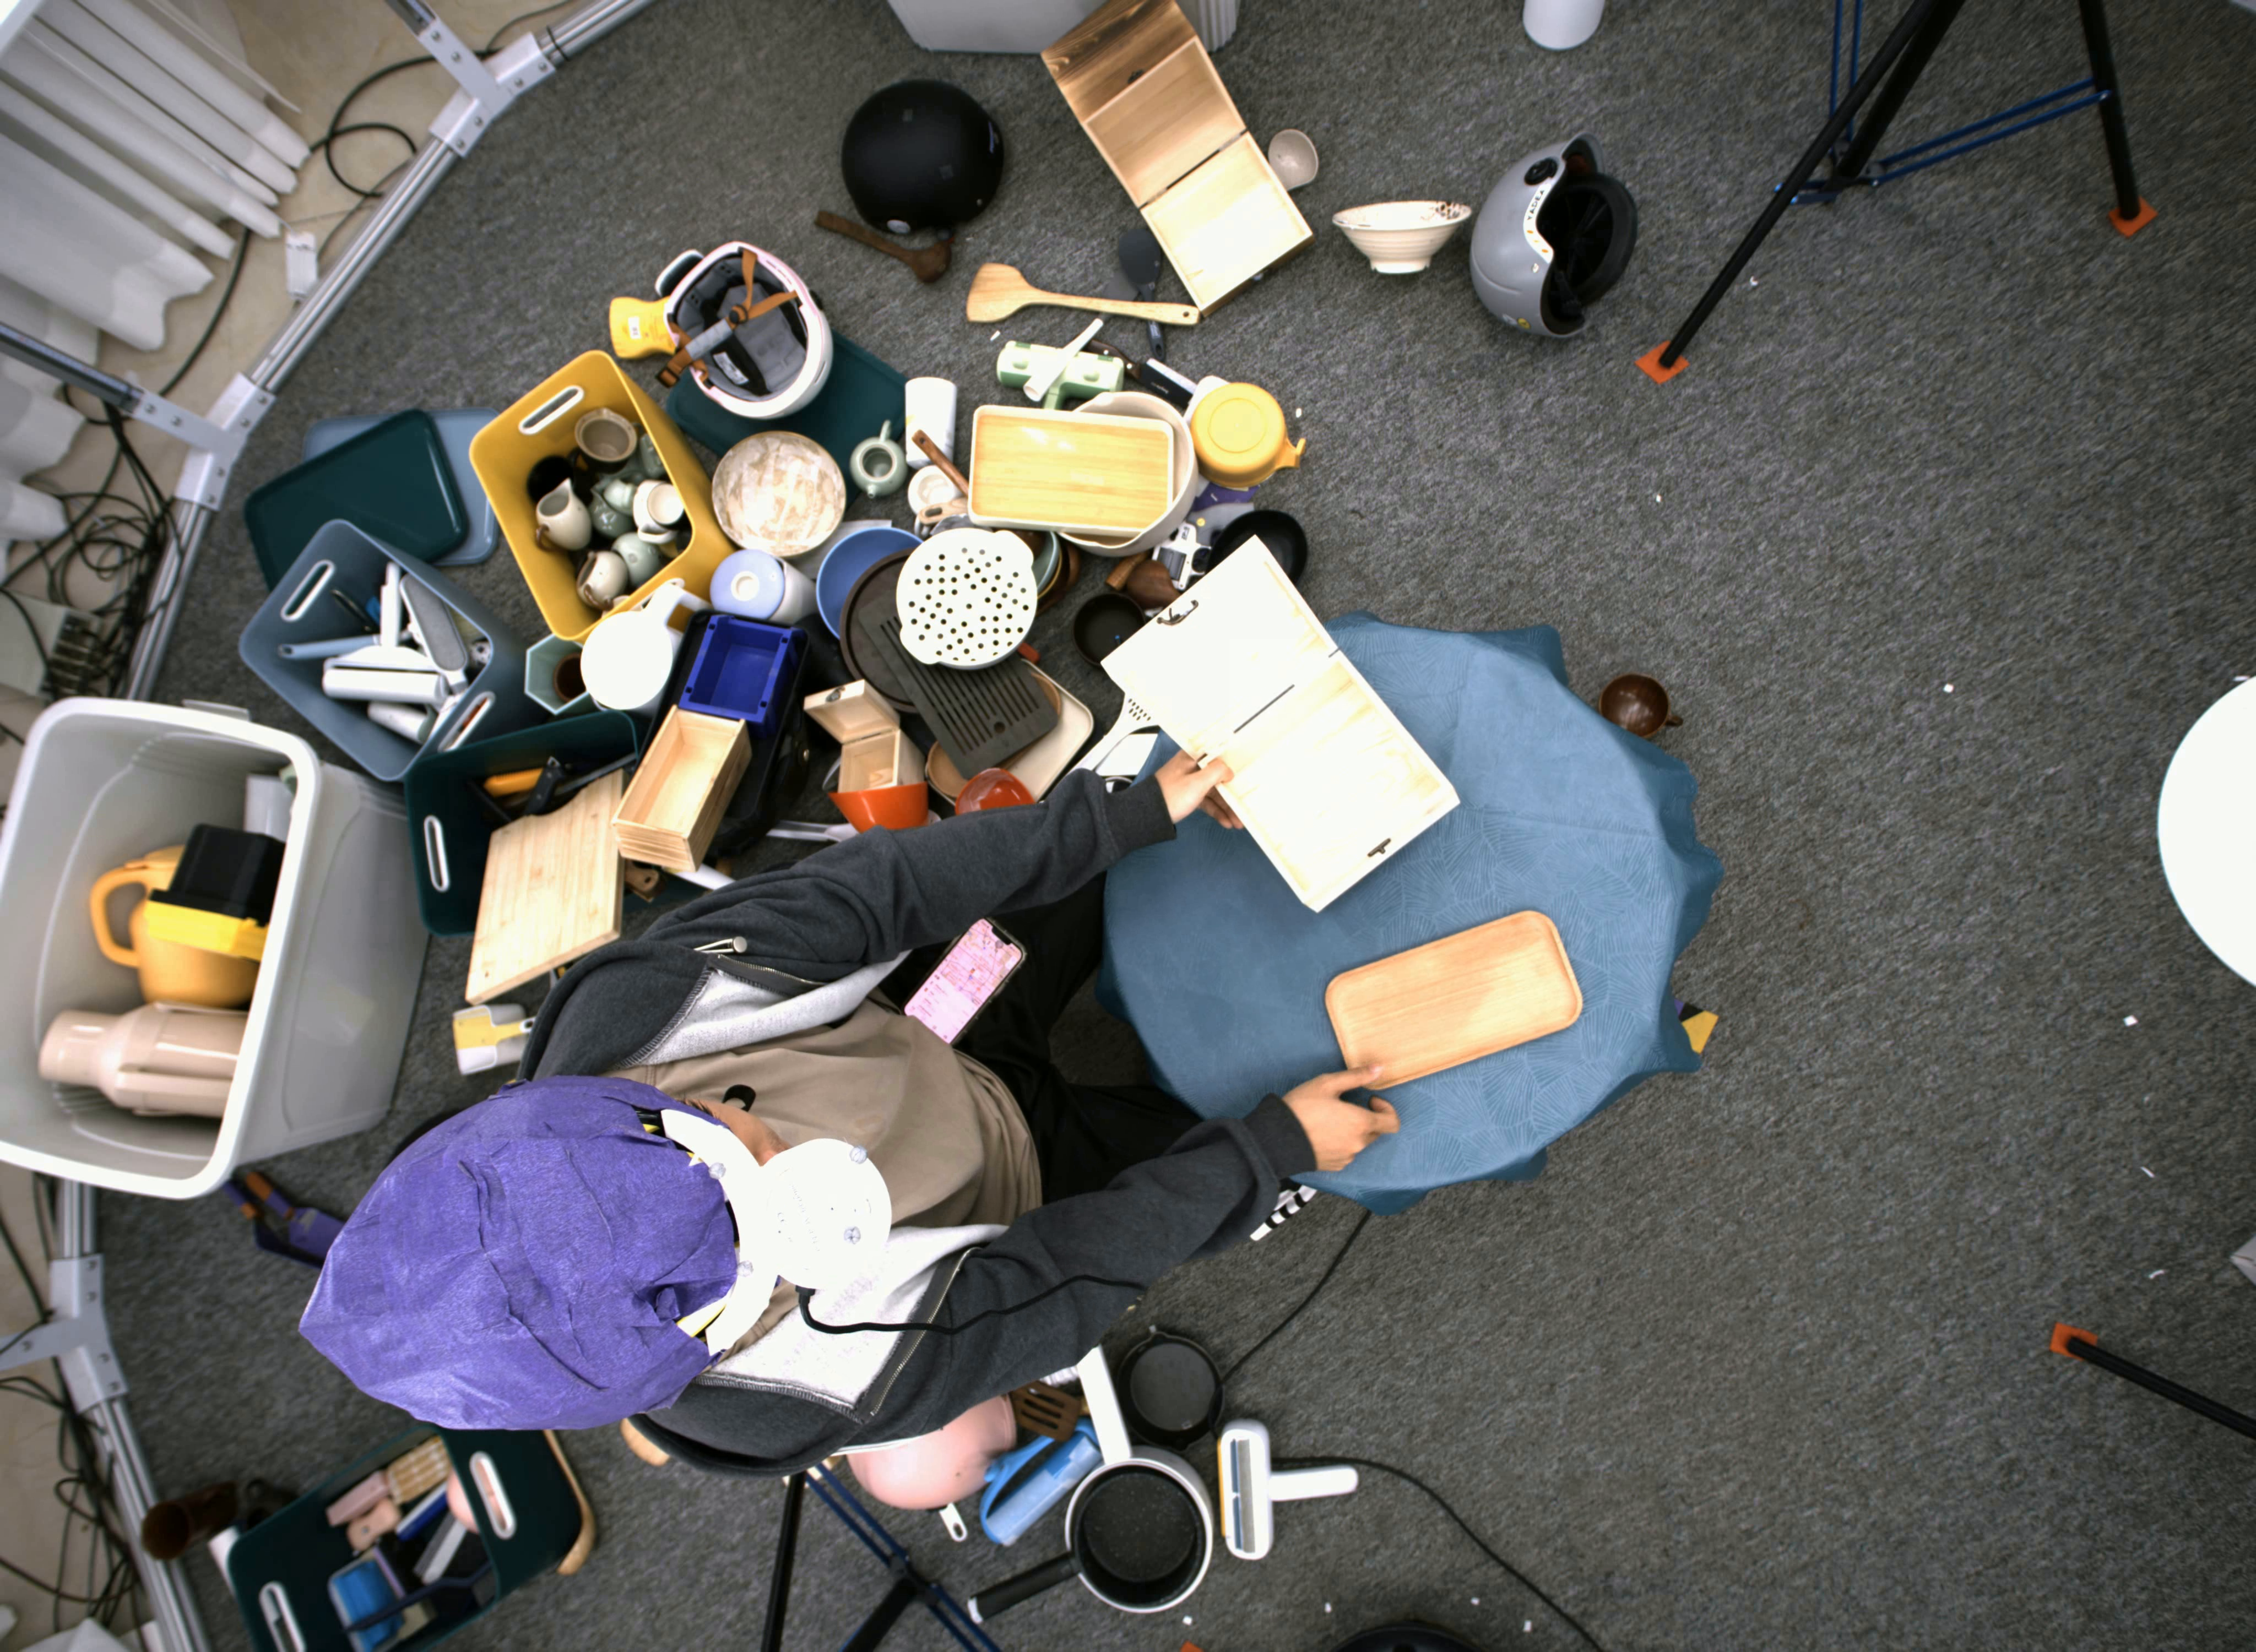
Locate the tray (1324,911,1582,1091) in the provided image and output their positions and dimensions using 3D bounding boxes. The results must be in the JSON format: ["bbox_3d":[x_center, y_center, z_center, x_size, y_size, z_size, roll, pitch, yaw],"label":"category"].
[{"bbox_3d":[0.336,0.180,1.432,0.252,0.023,0.129,-20,81,9],"label":"tray"}]

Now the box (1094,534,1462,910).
[{"bbox_3d":[0.151,-0.086,1.308,0.183,0.254,0.262,-40,69,11],"label":"box"}]
